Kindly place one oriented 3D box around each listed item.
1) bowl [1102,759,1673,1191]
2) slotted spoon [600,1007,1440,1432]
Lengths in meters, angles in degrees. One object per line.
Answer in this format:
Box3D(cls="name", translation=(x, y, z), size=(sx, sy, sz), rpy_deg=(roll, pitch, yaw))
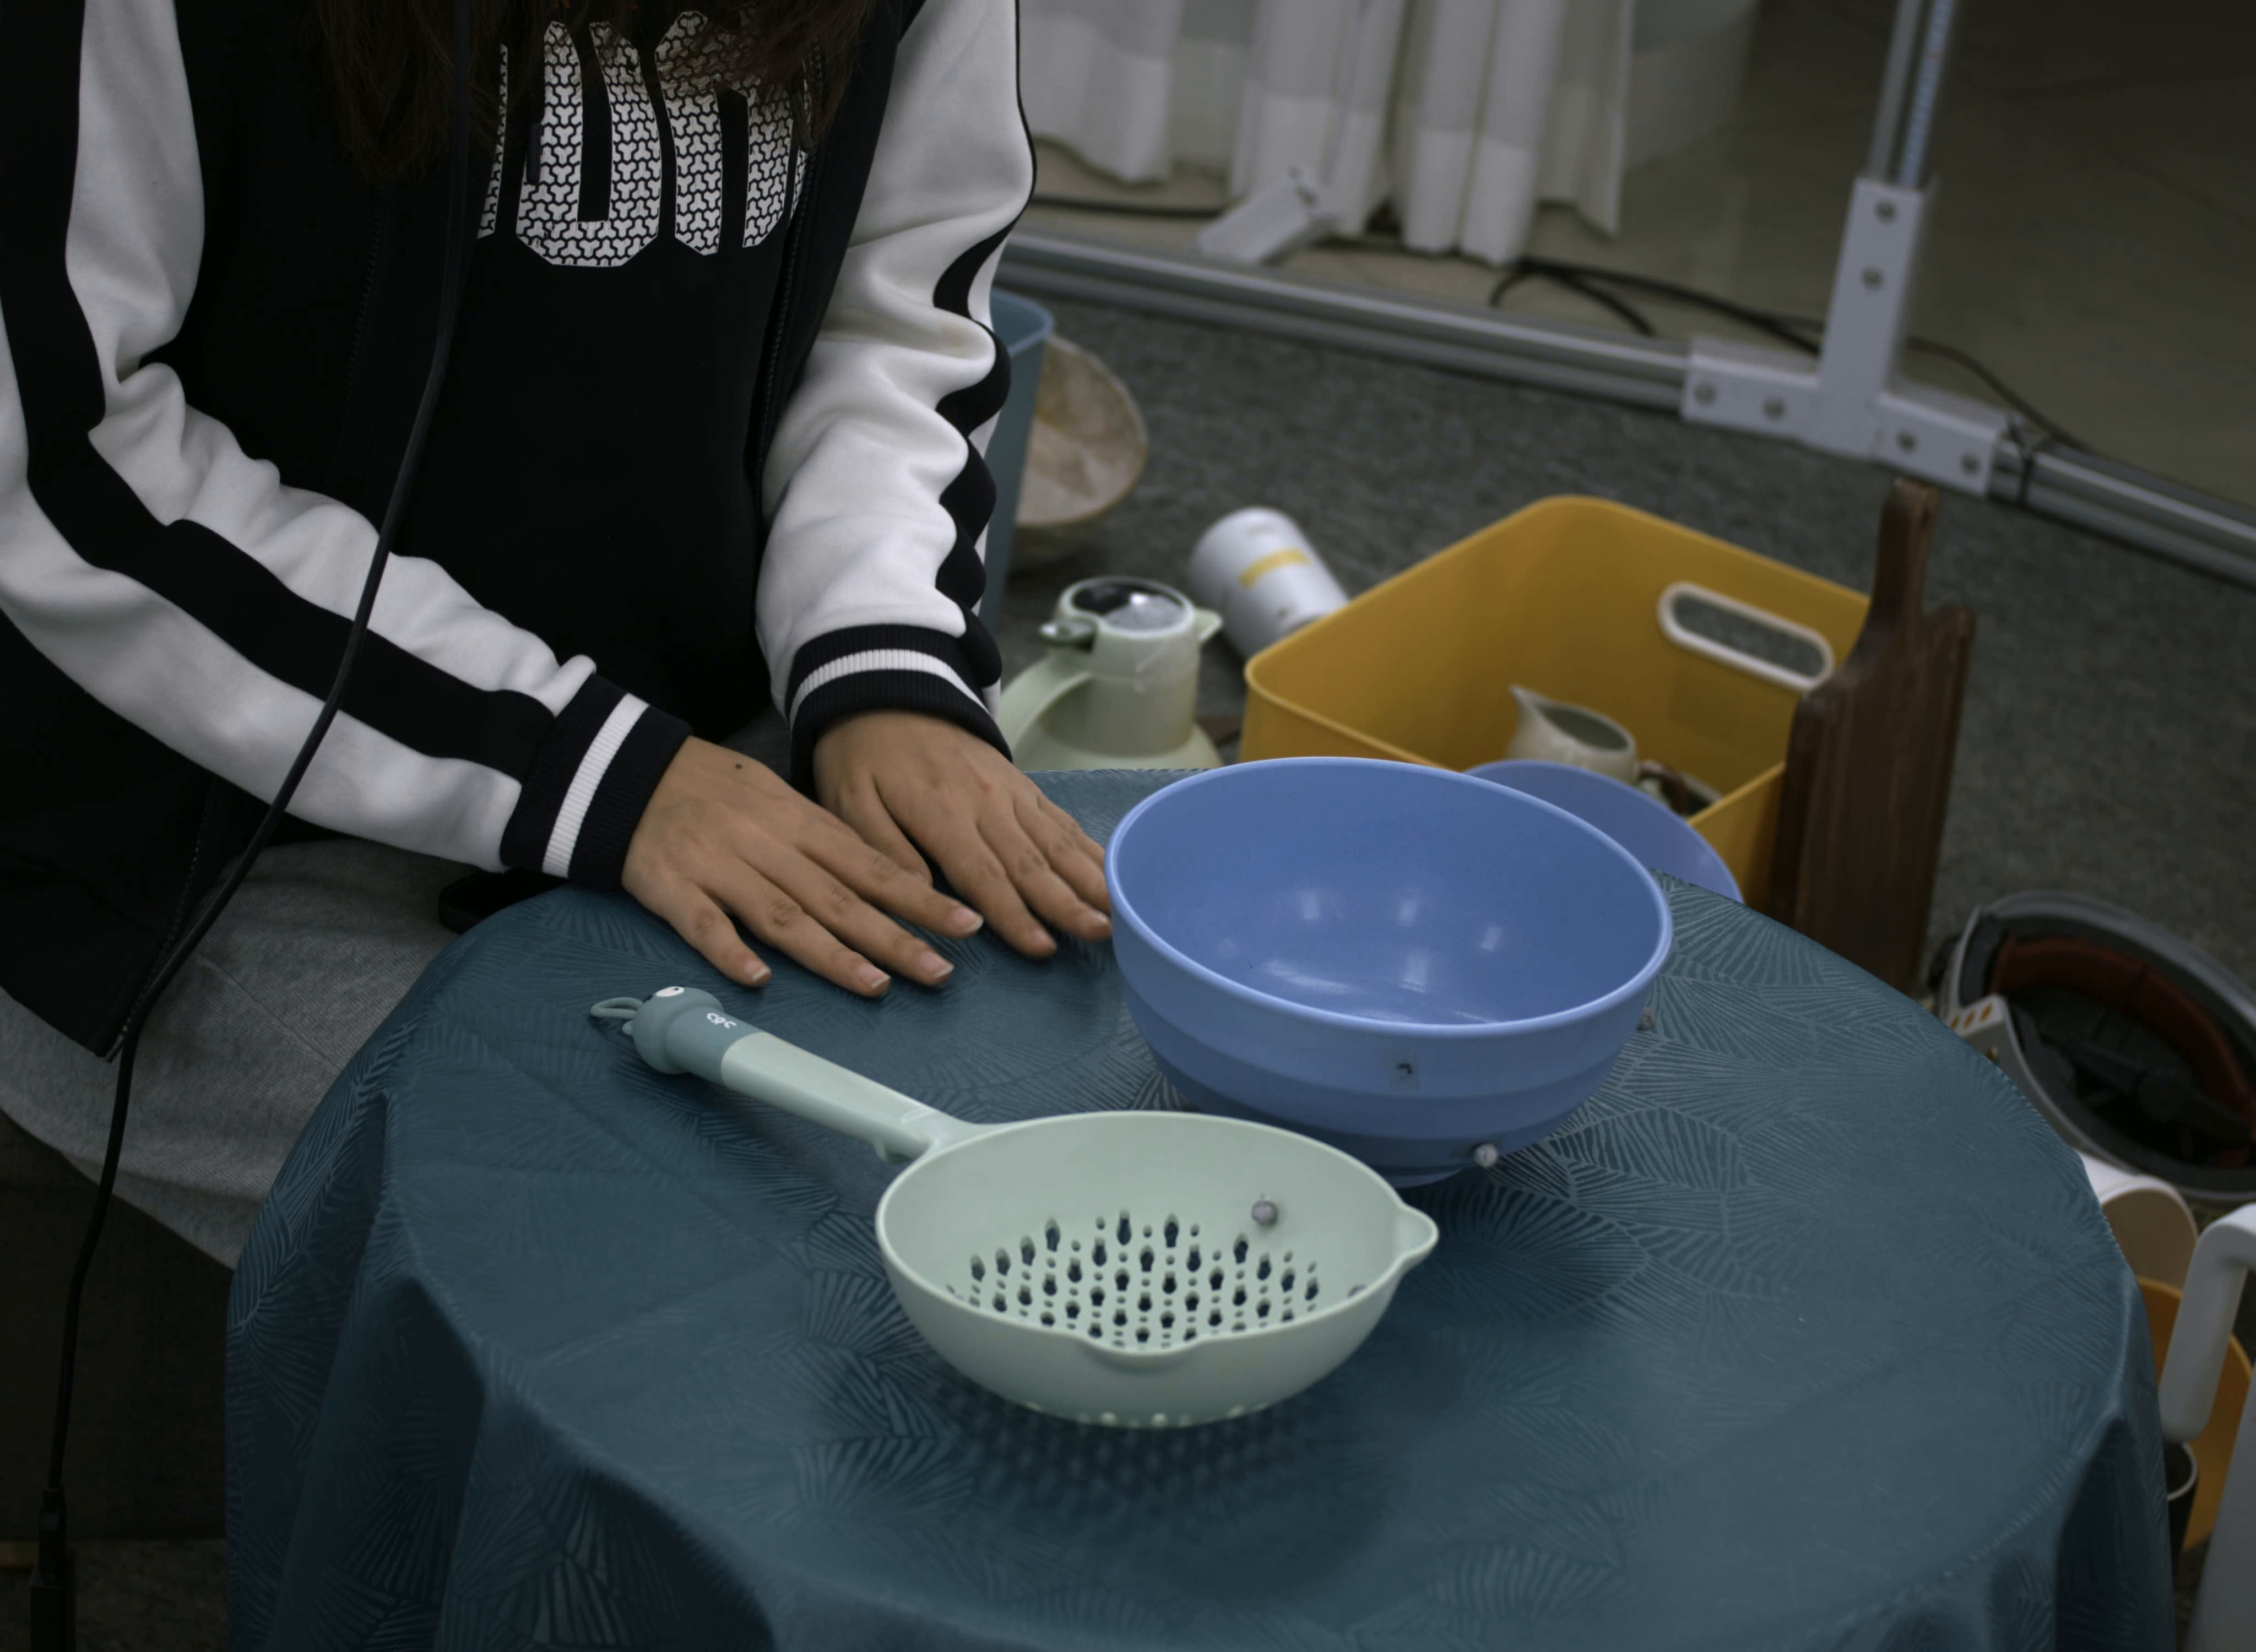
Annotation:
Box3D(cls="bowl", translation=(0.084, 0.062, 1.838), size=(0.196, 0.095, 0.197), rpy_deg=(5, 27, -3))
Box3D(cls="slotted spoon", translation=(-0.061, 0.112, 1.747), size=(0.168, 0.075, 0.362), rpy_deg=(-16, 33, -39))
